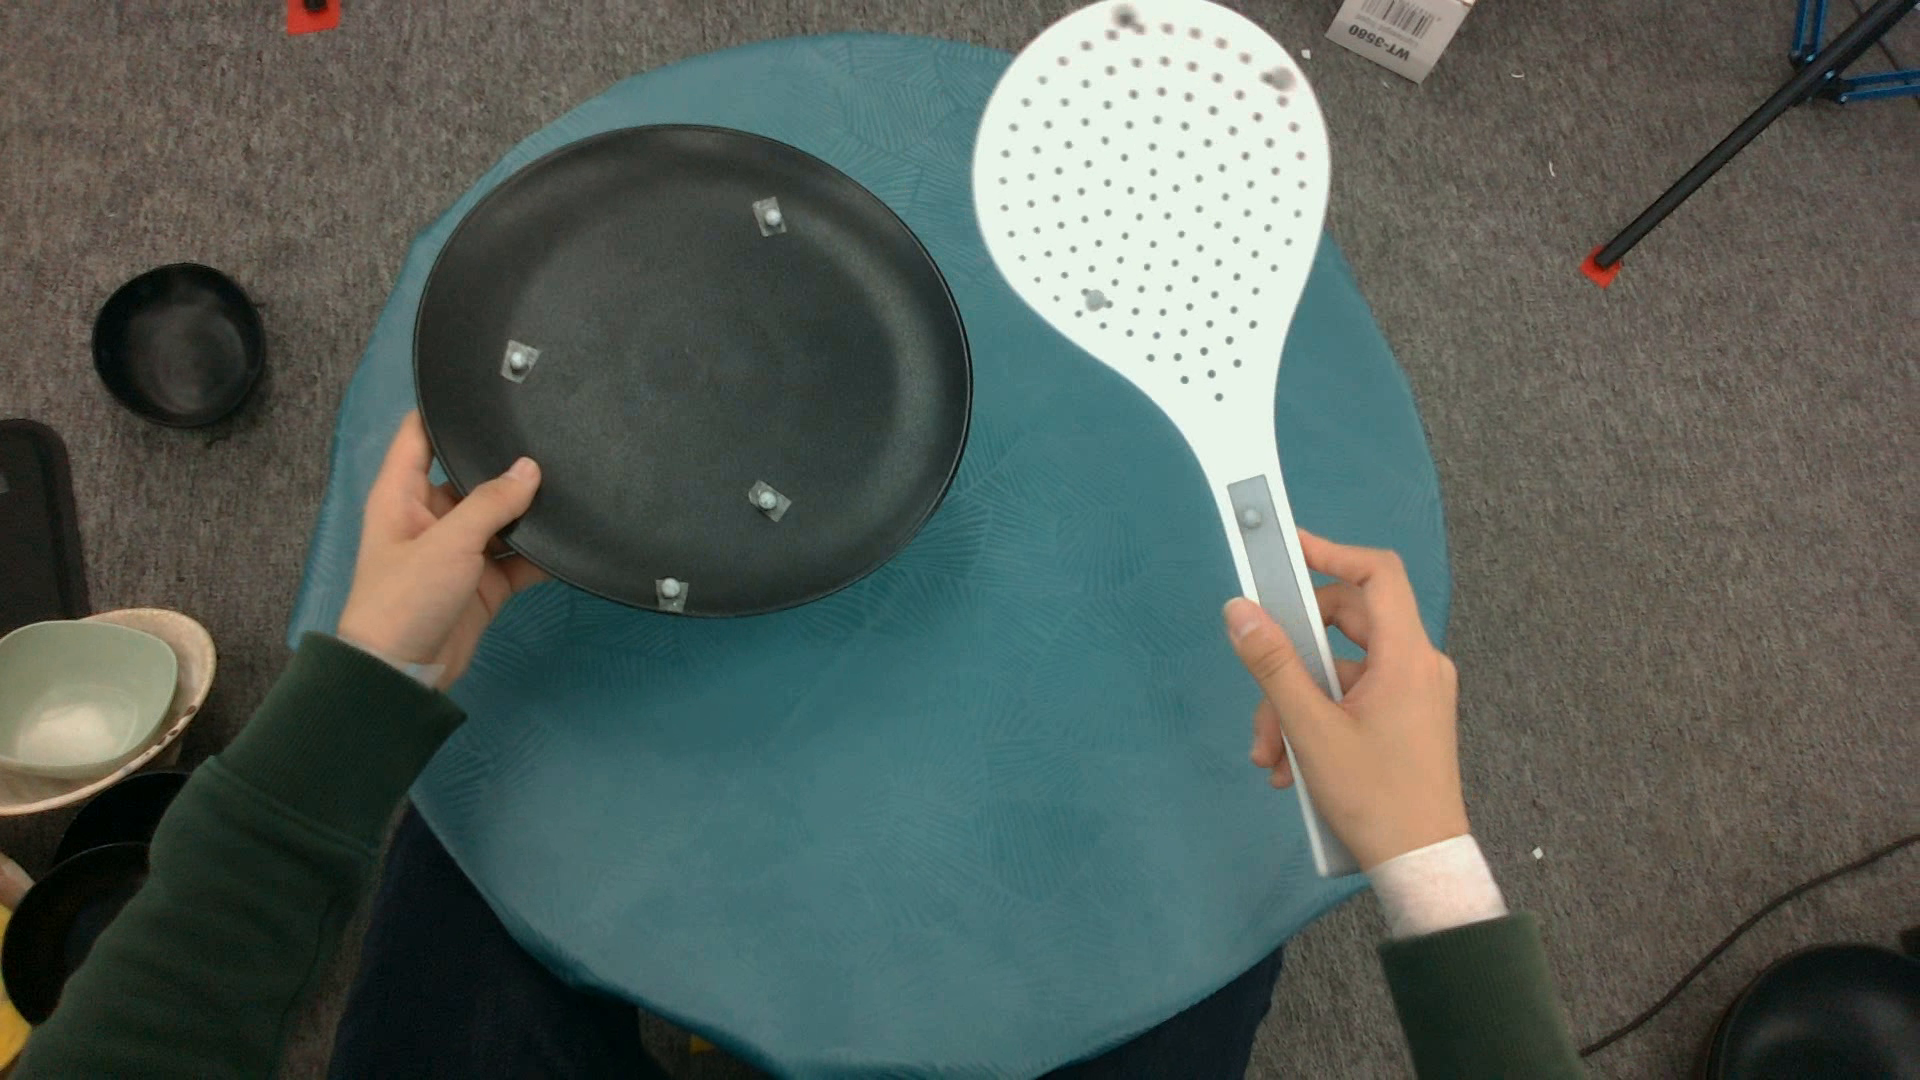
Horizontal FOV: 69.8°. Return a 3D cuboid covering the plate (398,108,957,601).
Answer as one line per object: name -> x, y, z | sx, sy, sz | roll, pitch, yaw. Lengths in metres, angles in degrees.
plate -> -0.121, -0.086, 0.620 | 0.244, 0.023, 0.245 | 5, 69, -14

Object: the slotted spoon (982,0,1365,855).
slotted spoon -> 0.105, -0.048, 0.549 | 0.136, 0.046, 0.350 | -15, 83, 8
